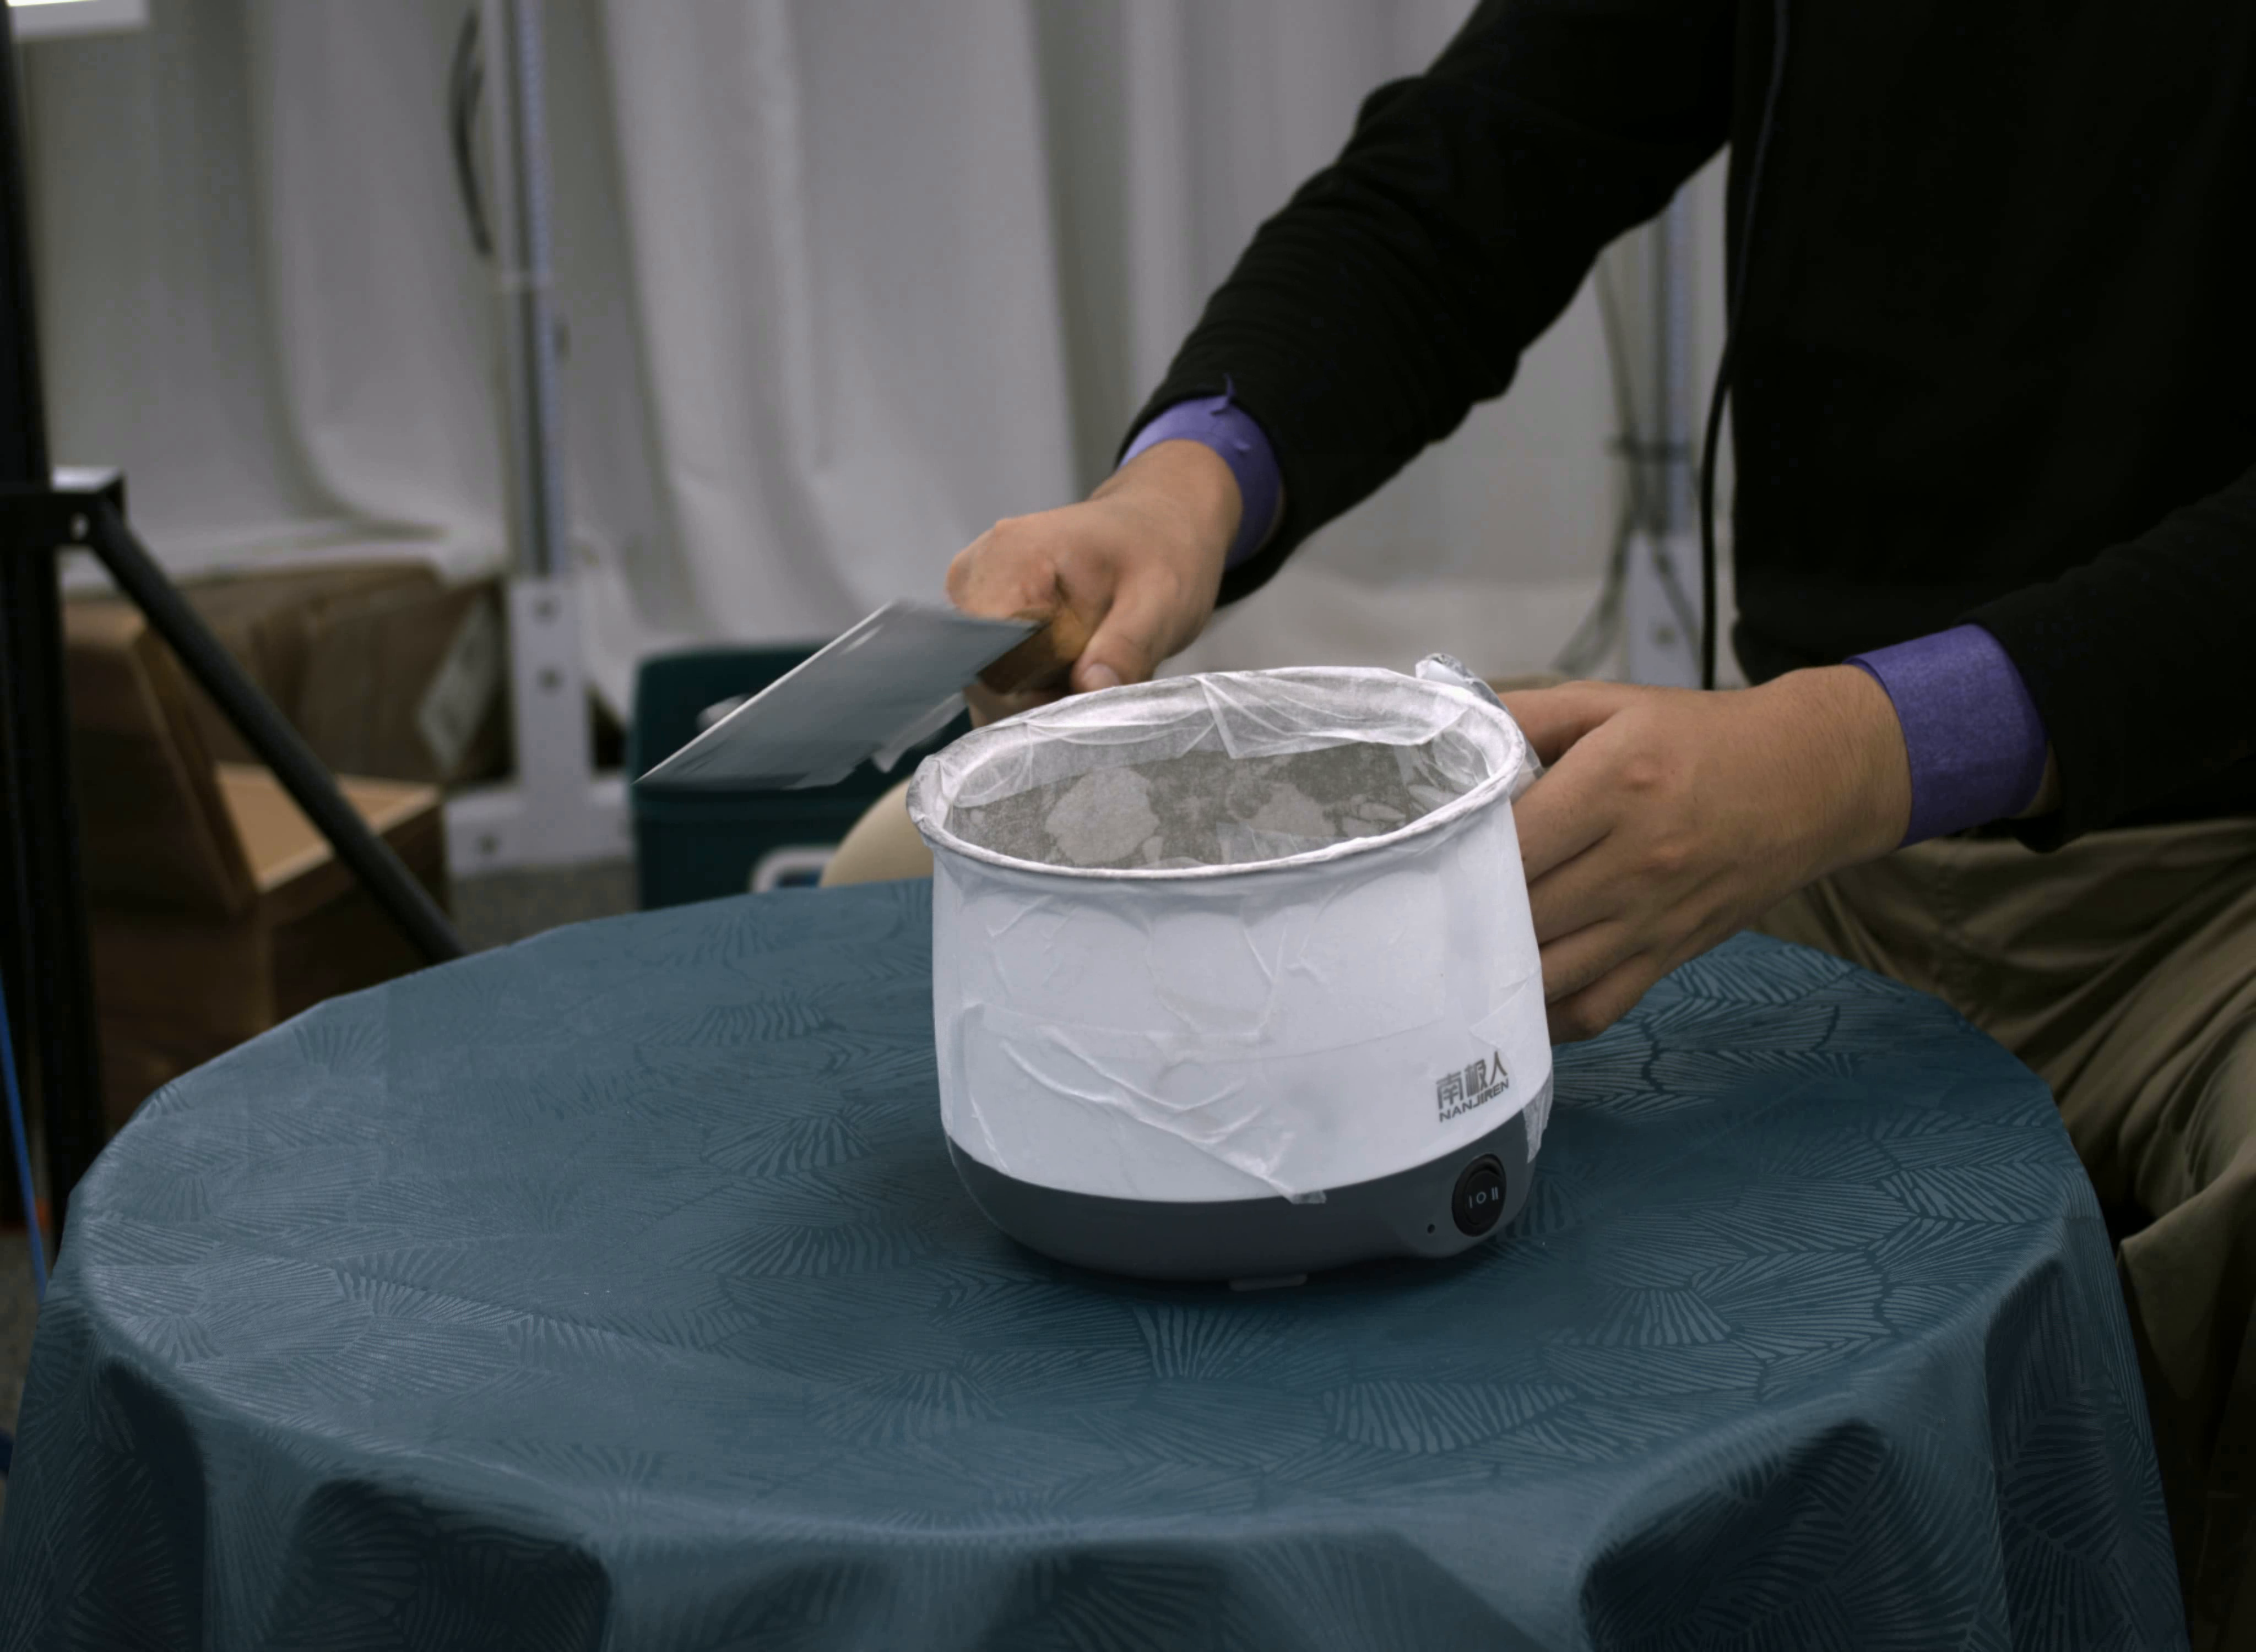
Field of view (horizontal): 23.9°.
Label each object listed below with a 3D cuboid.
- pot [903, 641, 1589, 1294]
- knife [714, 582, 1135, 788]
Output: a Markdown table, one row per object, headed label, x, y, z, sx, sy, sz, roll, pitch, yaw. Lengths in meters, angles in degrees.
| label | x | y | z | sx | sy | sz | roll | pitch | yaw |
| --- | --- | --- | --- | --- | --- | --- | --- | --- | --- |
| pot | 0.049 | 0.033 | 1.533 | 0.183 | 0.136 | 0.229 | 12 | 27 | 41 |
| knife | -0.061 | -0.040 | 1.635 | 0.093 | 0.021 | 0.302 | -33 | -8 | 9 |
